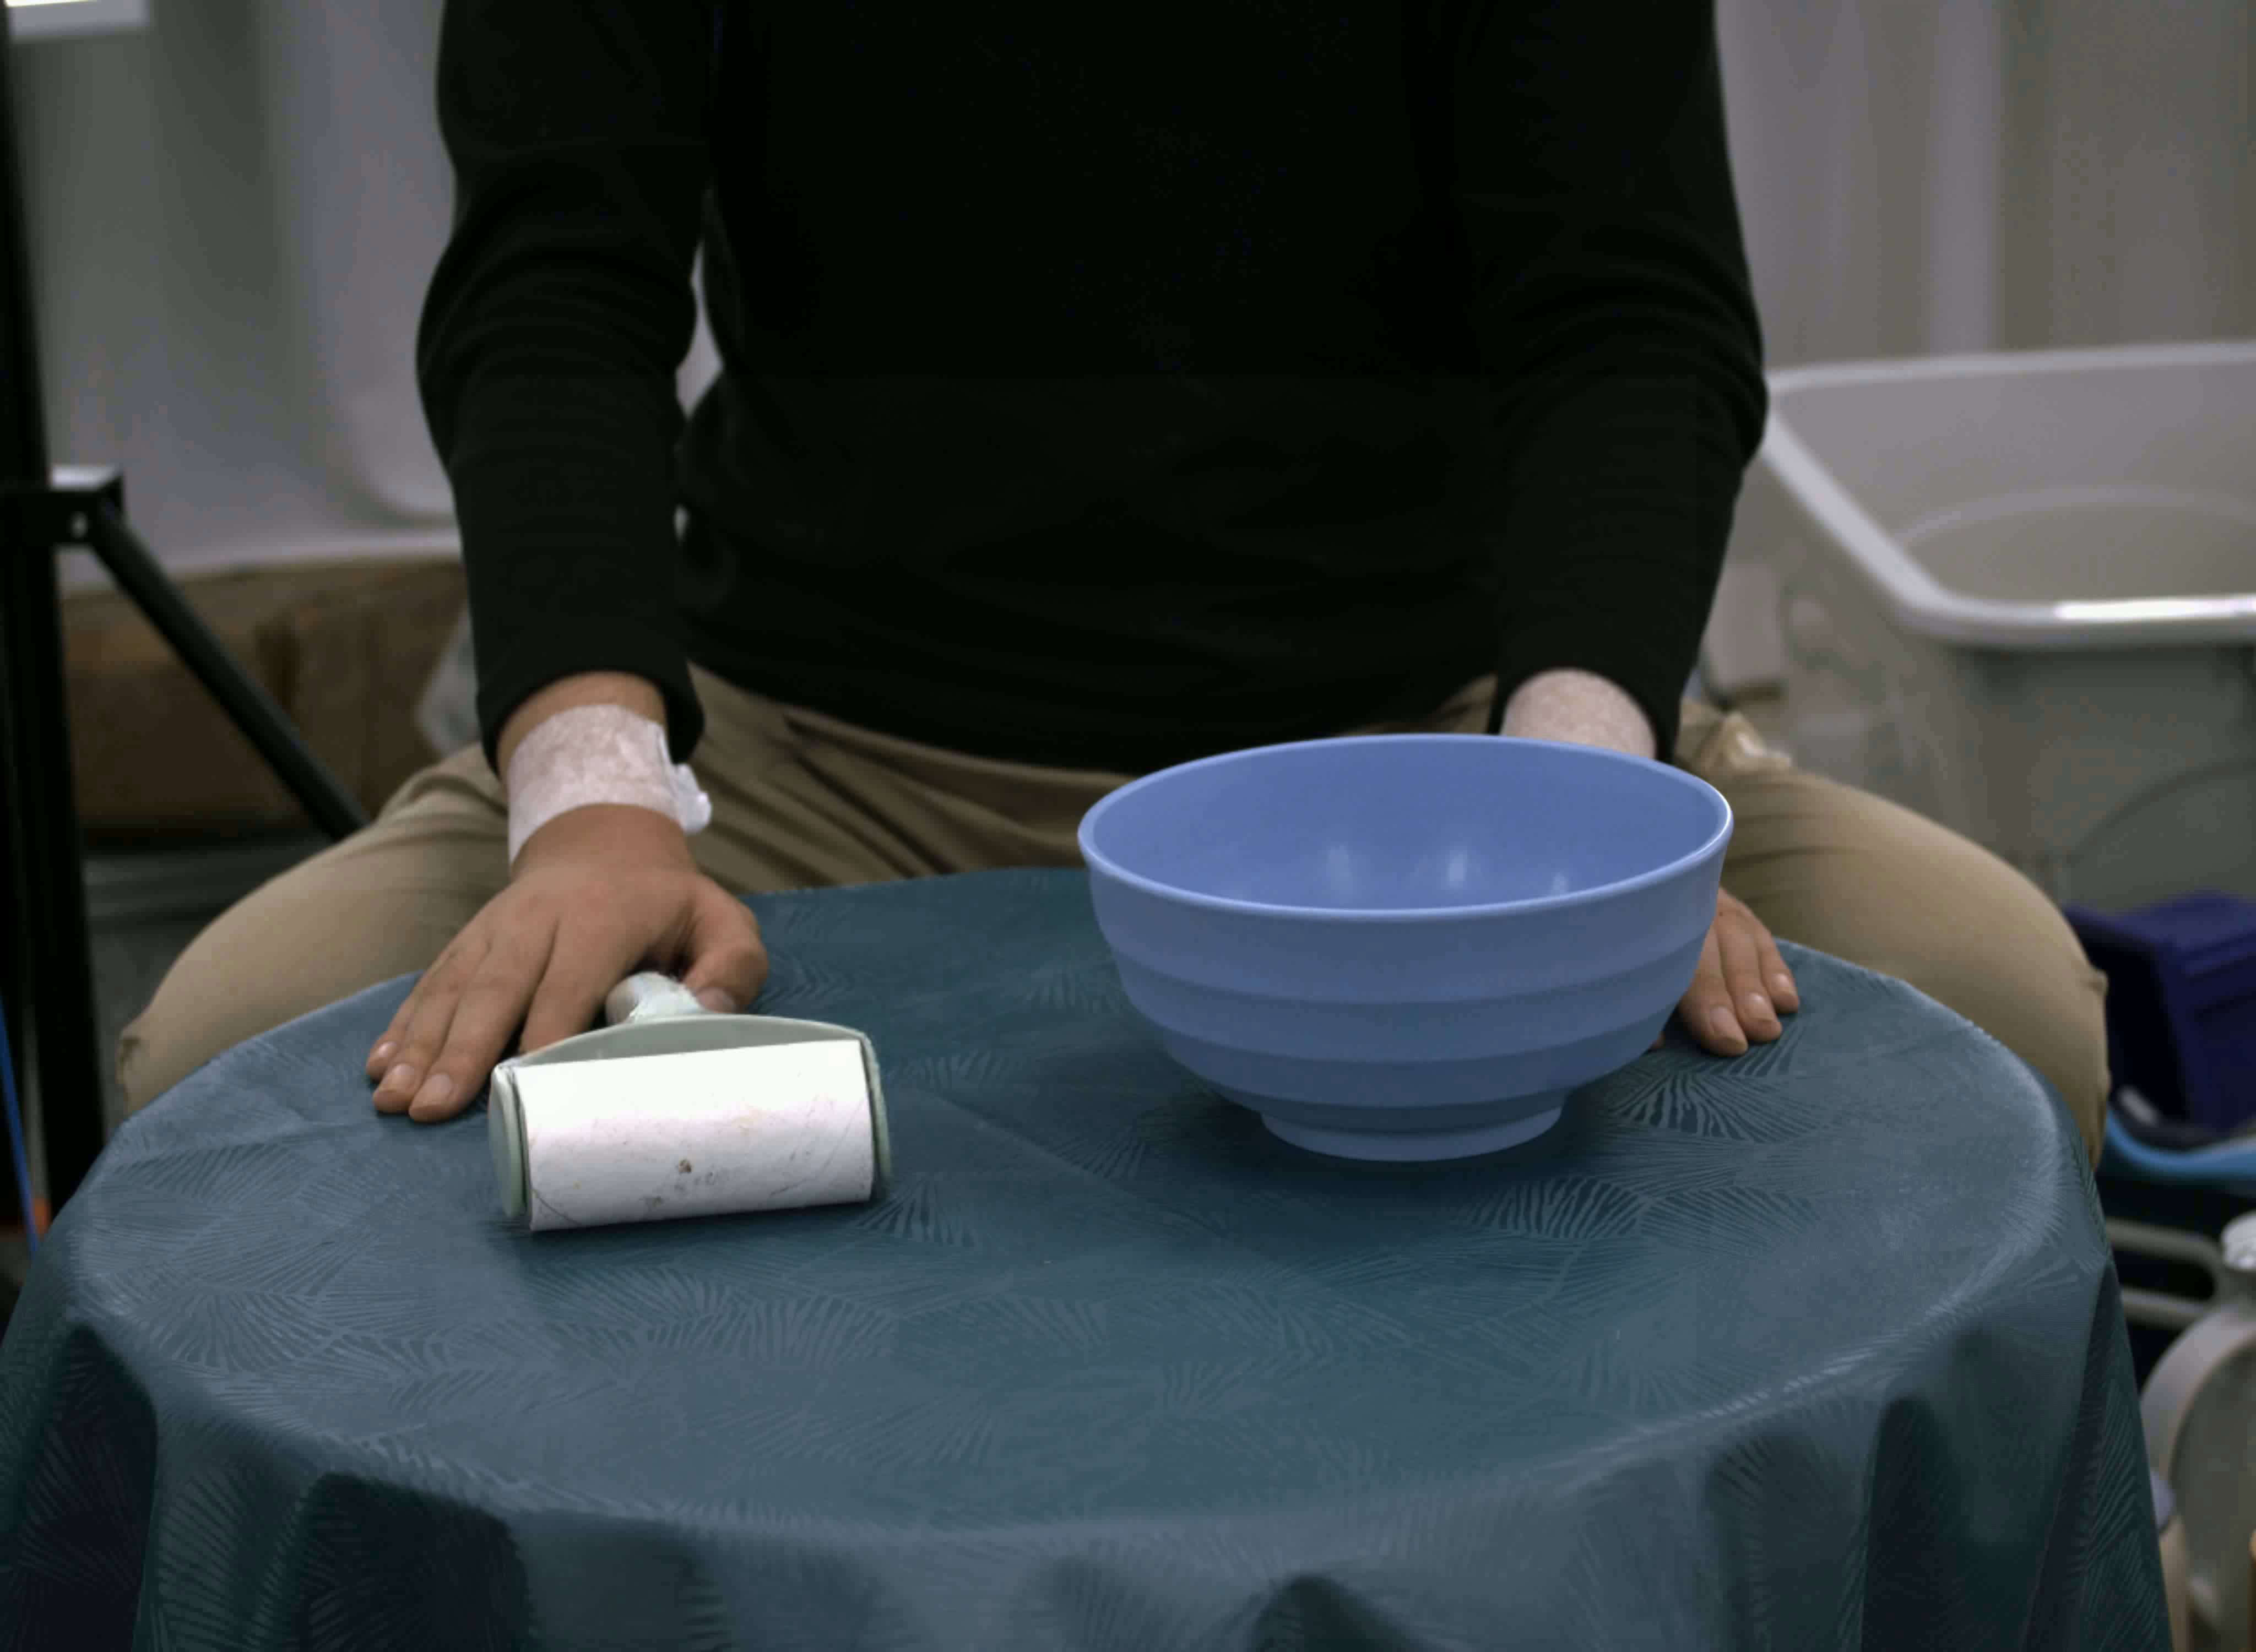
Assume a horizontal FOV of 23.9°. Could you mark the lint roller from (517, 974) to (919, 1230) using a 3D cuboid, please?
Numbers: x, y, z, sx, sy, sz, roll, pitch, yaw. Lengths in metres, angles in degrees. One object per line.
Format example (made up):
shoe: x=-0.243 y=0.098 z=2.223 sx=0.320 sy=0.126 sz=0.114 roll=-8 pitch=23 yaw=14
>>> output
lint roller: x=-0.132 y=0.072 z=1.625 sx=0.115 sy=0.048 sz=0.200 roll=-7 pitch=15 yaw=-9

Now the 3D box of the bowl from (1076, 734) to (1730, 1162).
bowl: x=0.084 y=0.042 z=1.601 sx=0.195 sy=0.095 sz=0.197 roll=-4 pitch=16 yaw=0
